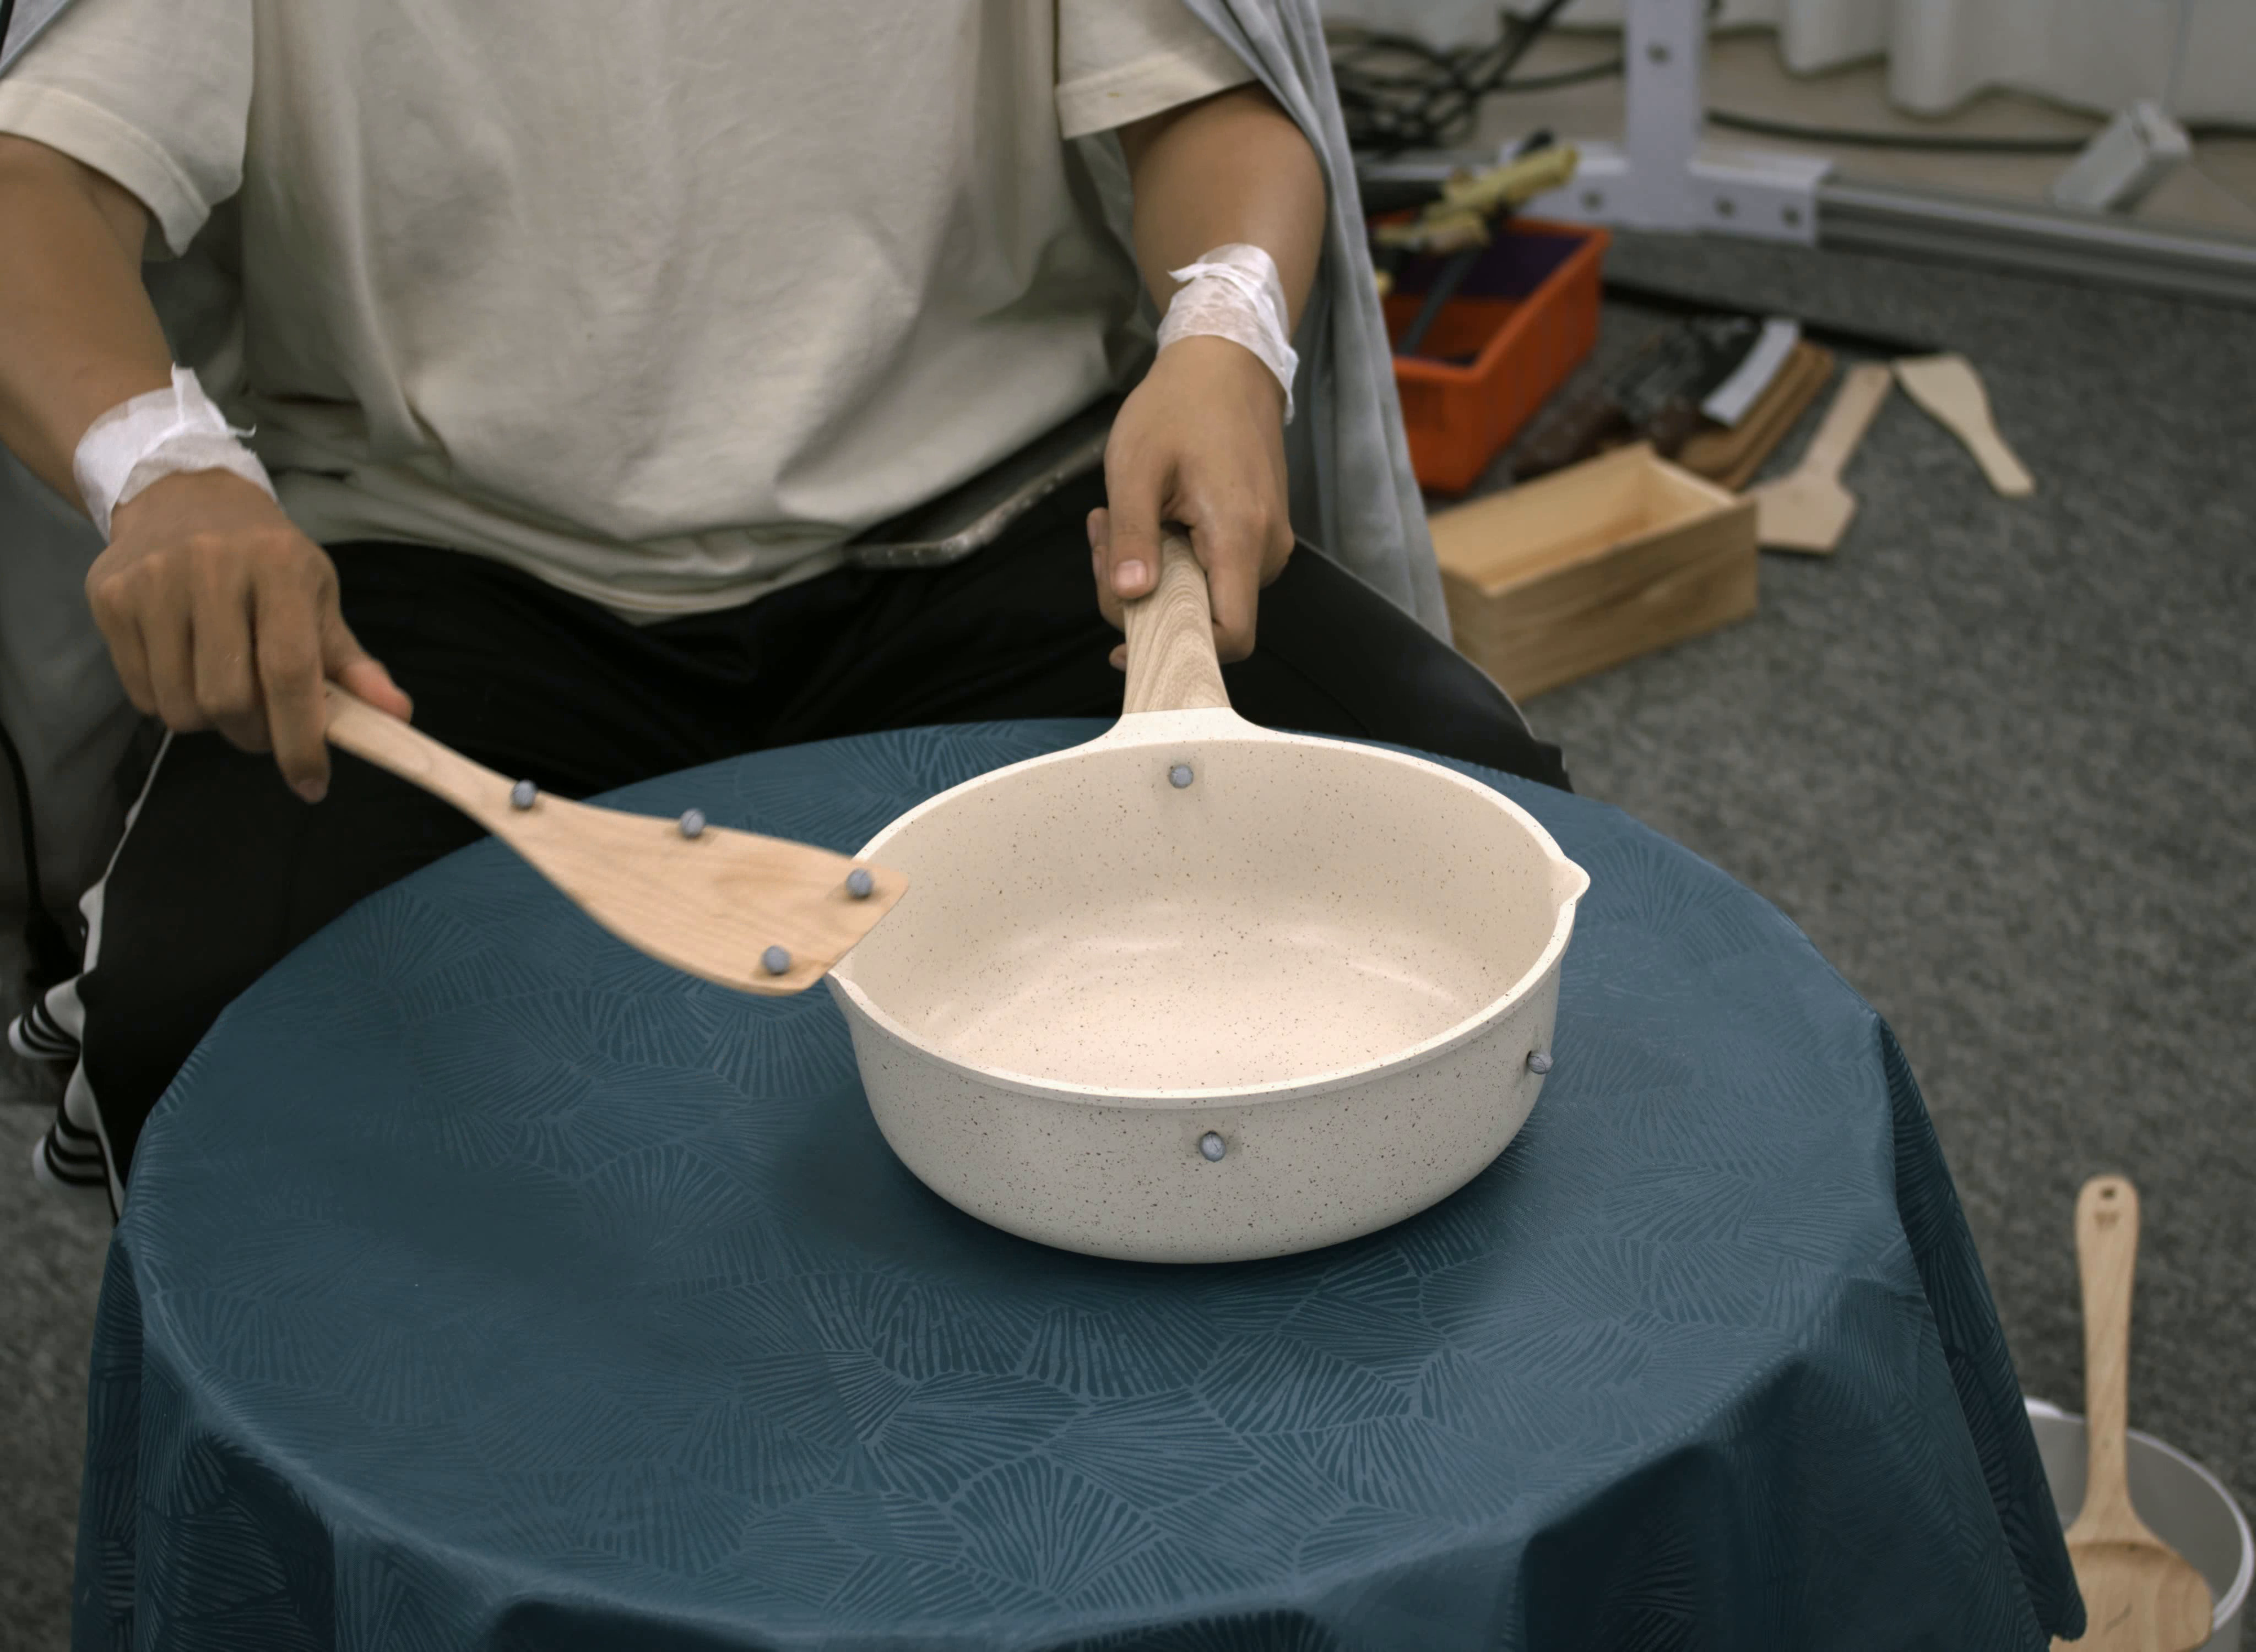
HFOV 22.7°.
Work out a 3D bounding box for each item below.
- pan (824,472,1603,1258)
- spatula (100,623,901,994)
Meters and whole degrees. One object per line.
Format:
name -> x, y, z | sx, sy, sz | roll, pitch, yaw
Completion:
pan -> 0.026, 0.010, 1.965 | 0.262, 0.101, 0.441 | -5, 27, -1
spatula -> -0.211, -0.012, 1.809 | 0.327, 0.016, 0.081 | 23, 36, 30
